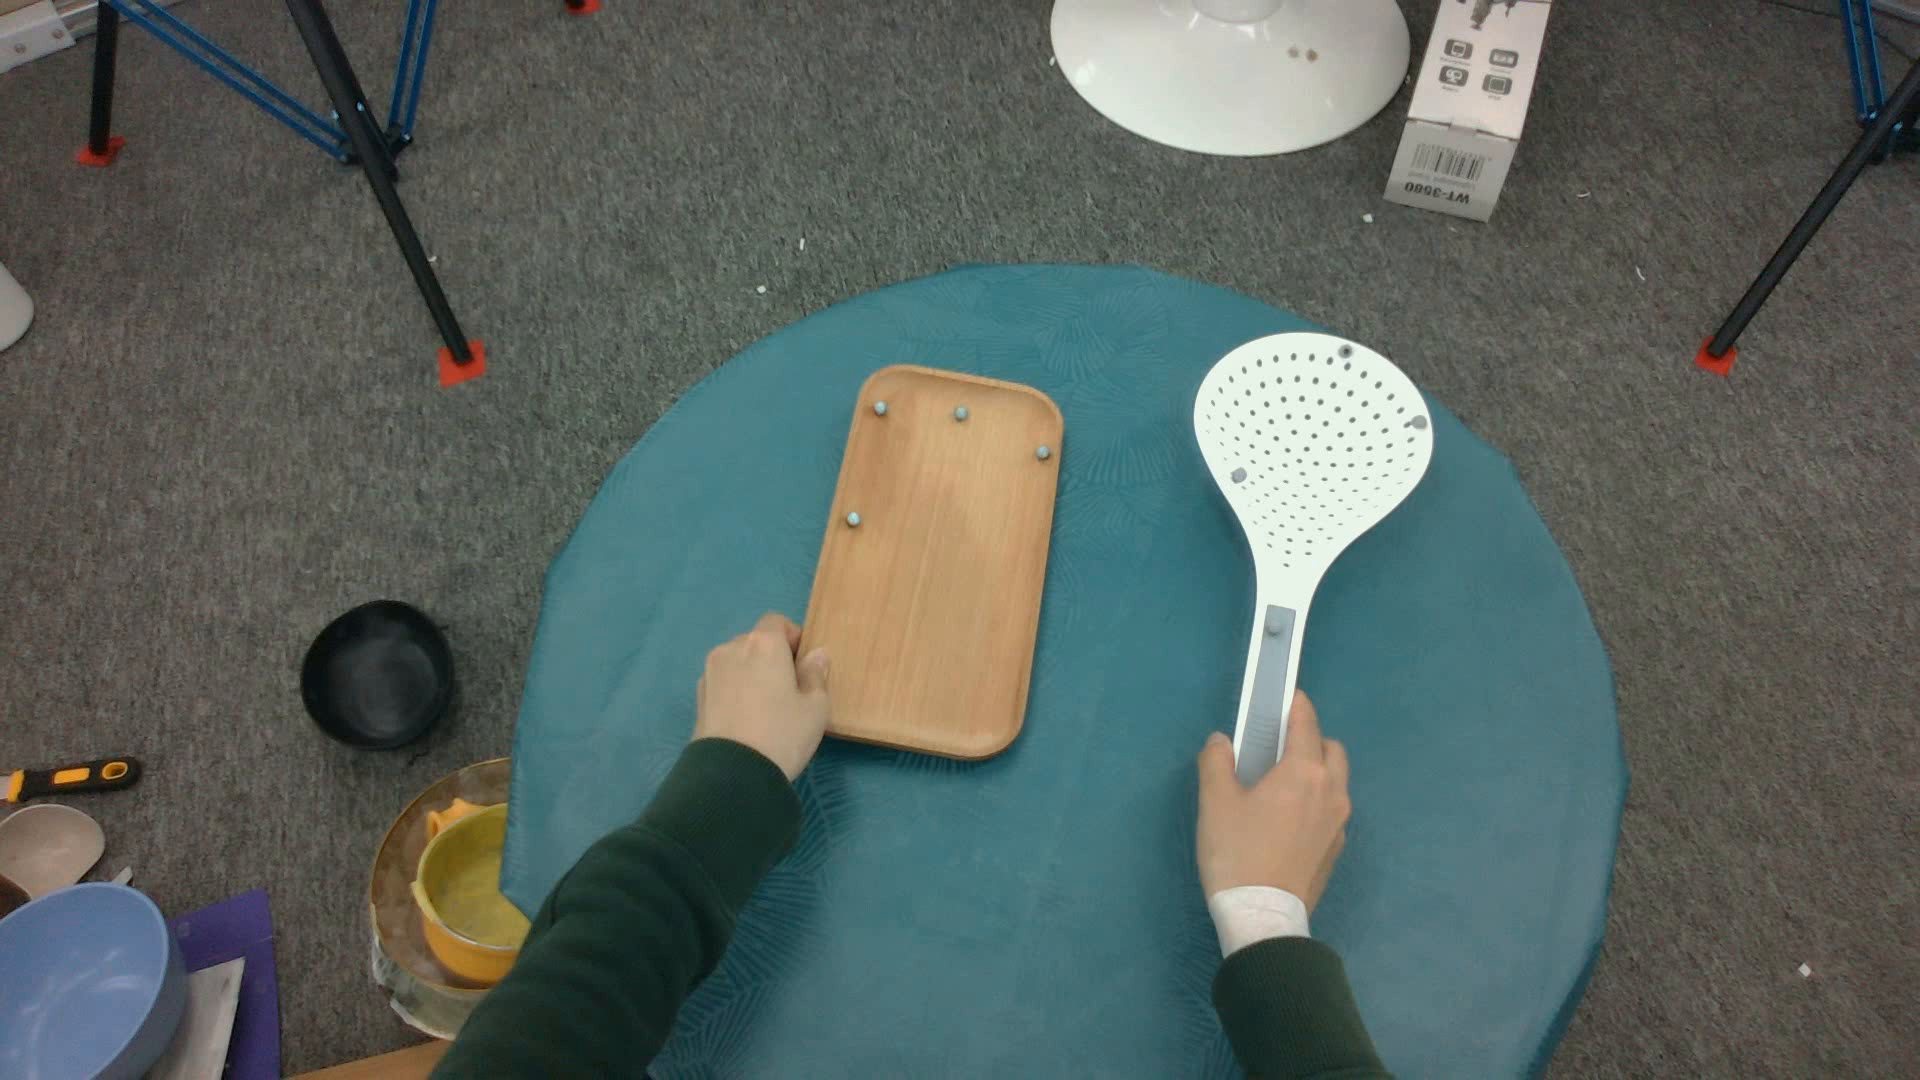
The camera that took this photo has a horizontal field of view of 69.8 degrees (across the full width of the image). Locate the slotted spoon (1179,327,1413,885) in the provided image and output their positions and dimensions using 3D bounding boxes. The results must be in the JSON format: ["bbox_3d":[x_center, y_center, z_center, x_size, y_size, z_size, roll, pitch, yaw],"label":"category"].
[{"bbox_3d":[0.170,0.021,0.759,0.136,0.045,0.351,11,55,10],"label":"slotted spoon"}]

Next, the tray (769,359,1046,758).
[{"bbox_3d":[-0.024,0.003,0.787,0.130,0.023,0.252,9,58,1],"label":"tray"}]
